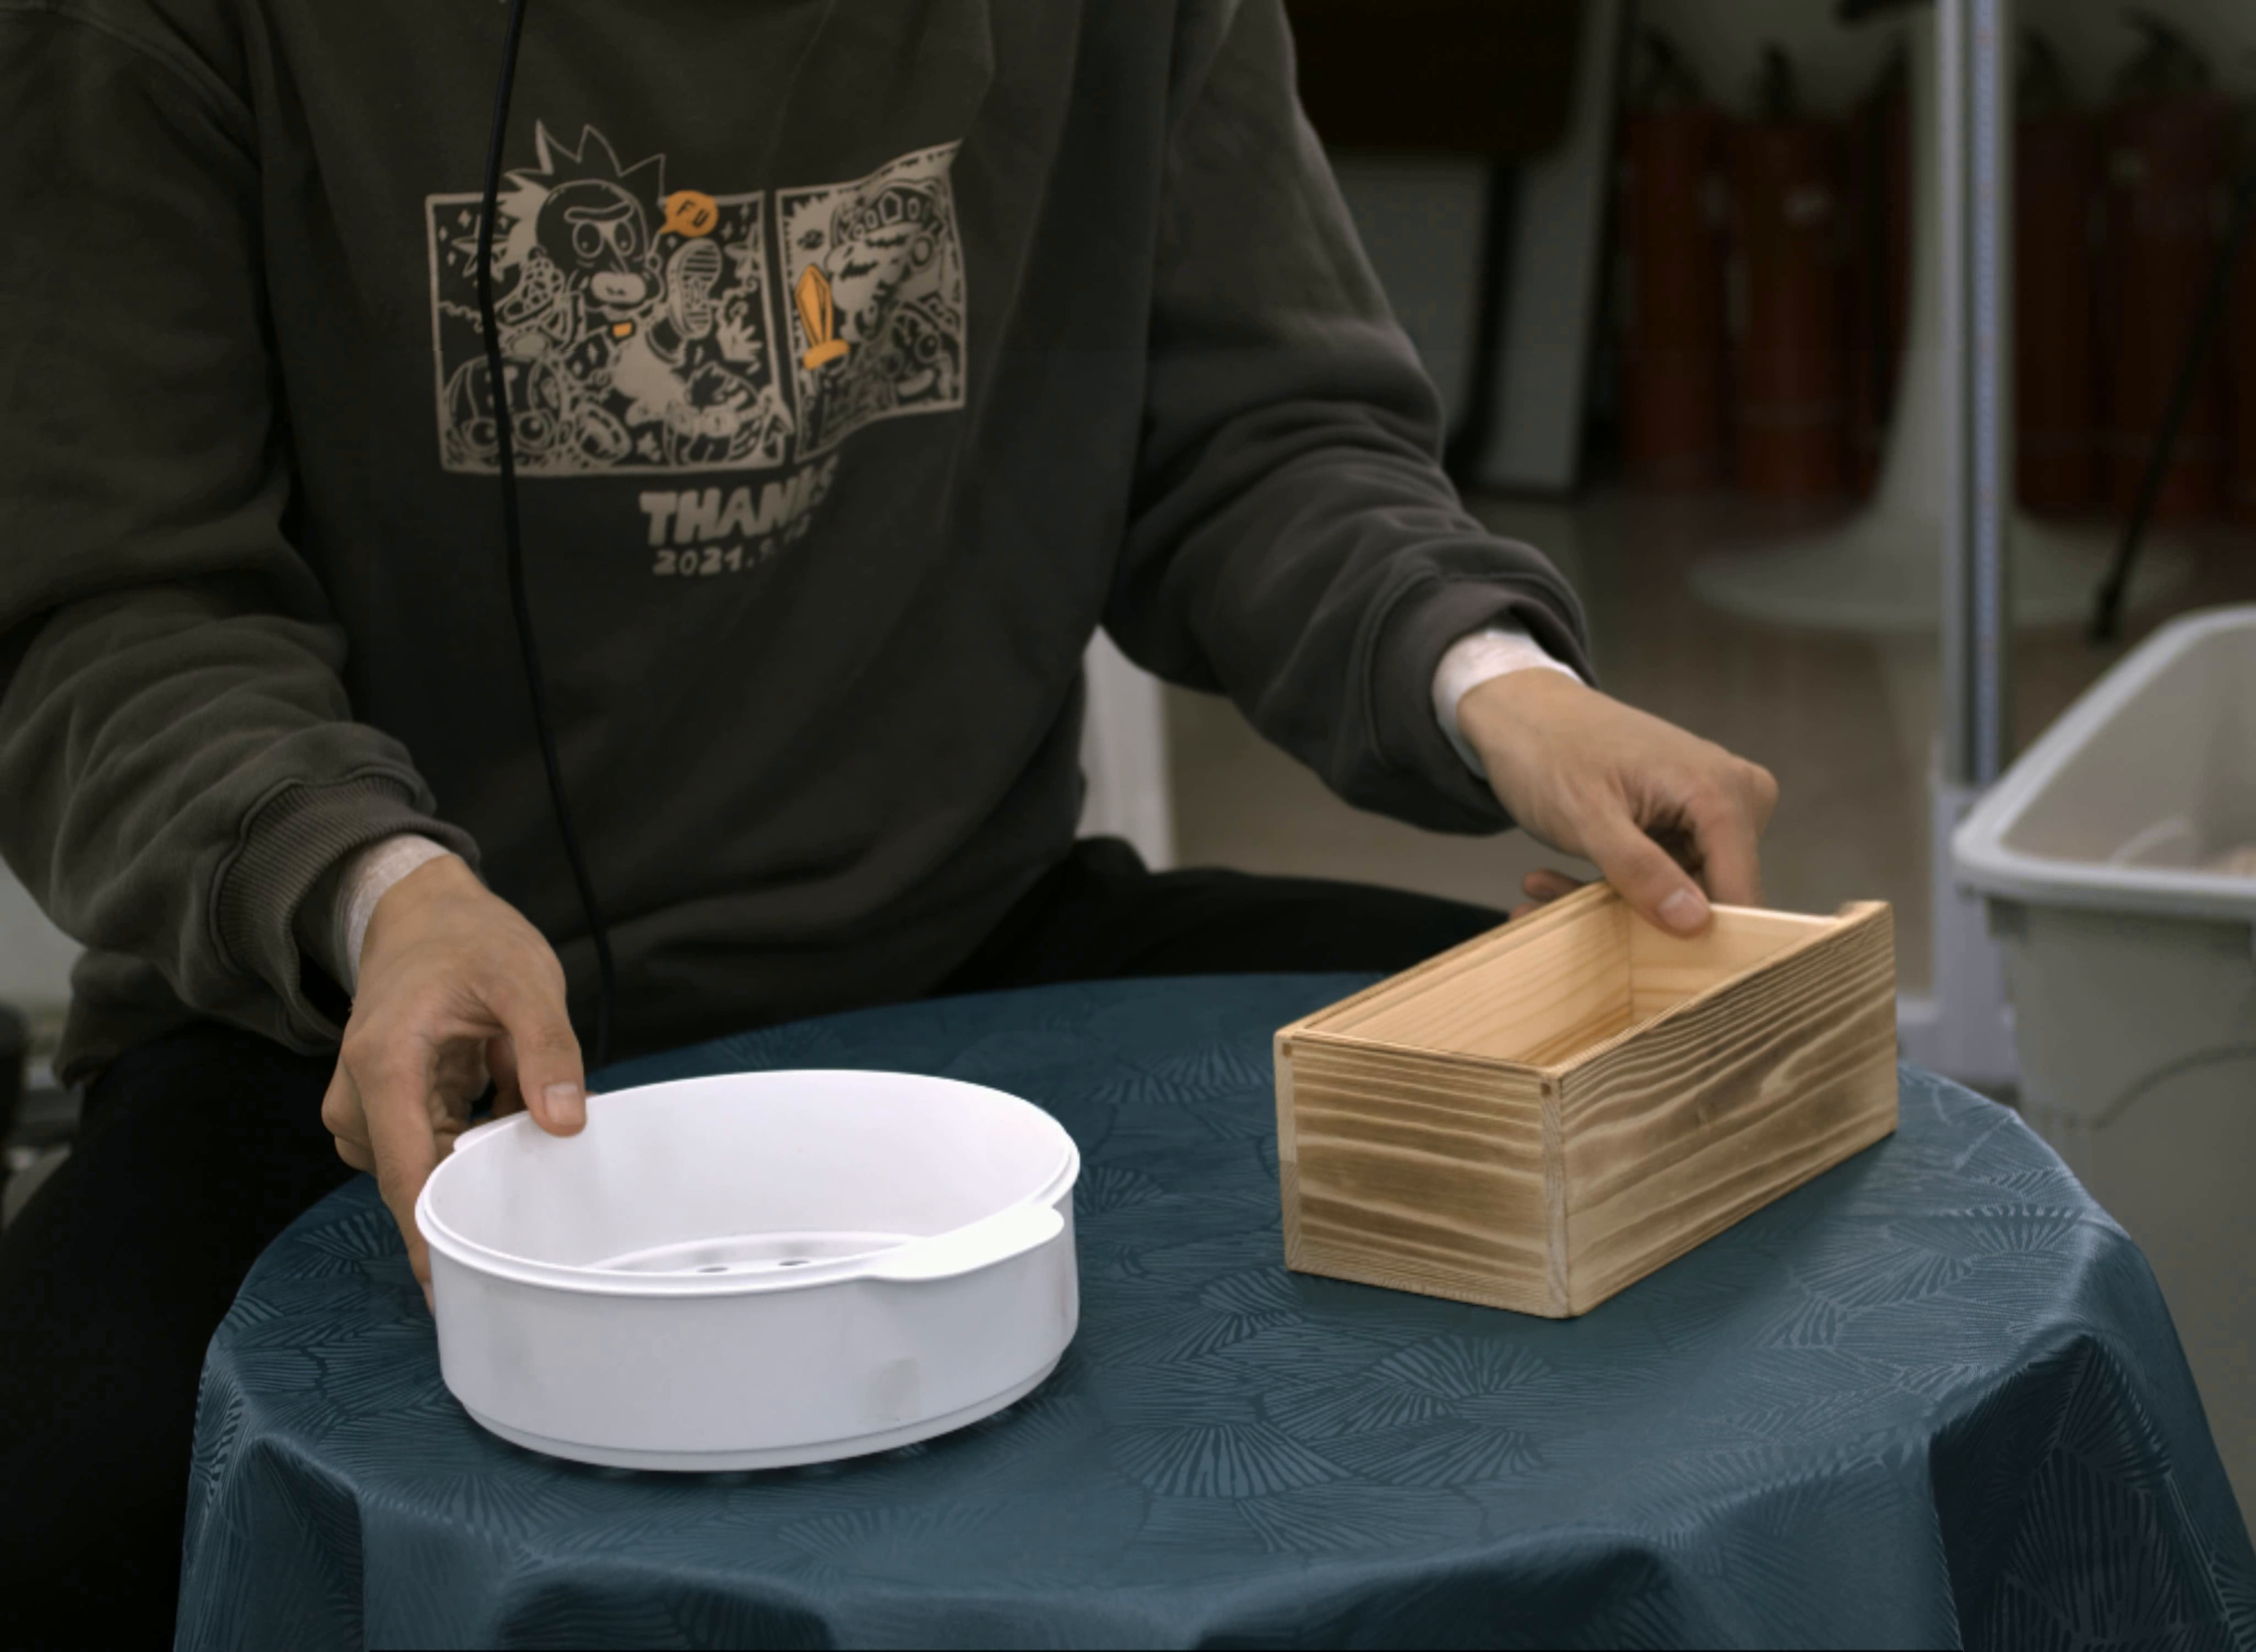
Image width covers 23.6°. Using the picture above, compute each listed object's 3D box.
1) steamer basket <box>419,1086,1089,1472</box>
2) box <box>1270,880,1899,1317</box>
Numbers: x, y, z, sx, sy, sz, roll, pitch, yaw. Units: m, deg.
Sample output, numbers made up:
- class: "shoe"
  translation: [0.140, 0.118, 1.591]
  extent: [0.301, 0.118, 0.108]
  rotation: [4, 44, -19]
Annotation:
- class: "steamer basket"
  translation: [-0.109, 0.134, 1.610]
  extent: [0.197, 0.070, 0.233]
  rotation: [-15, 16, -42]
- class: "box"
  translation: [0.149, 0.083, 1.719]
  extent: [0.108, 0.081, 0.207]
  rotation: [5, 16, 37]
